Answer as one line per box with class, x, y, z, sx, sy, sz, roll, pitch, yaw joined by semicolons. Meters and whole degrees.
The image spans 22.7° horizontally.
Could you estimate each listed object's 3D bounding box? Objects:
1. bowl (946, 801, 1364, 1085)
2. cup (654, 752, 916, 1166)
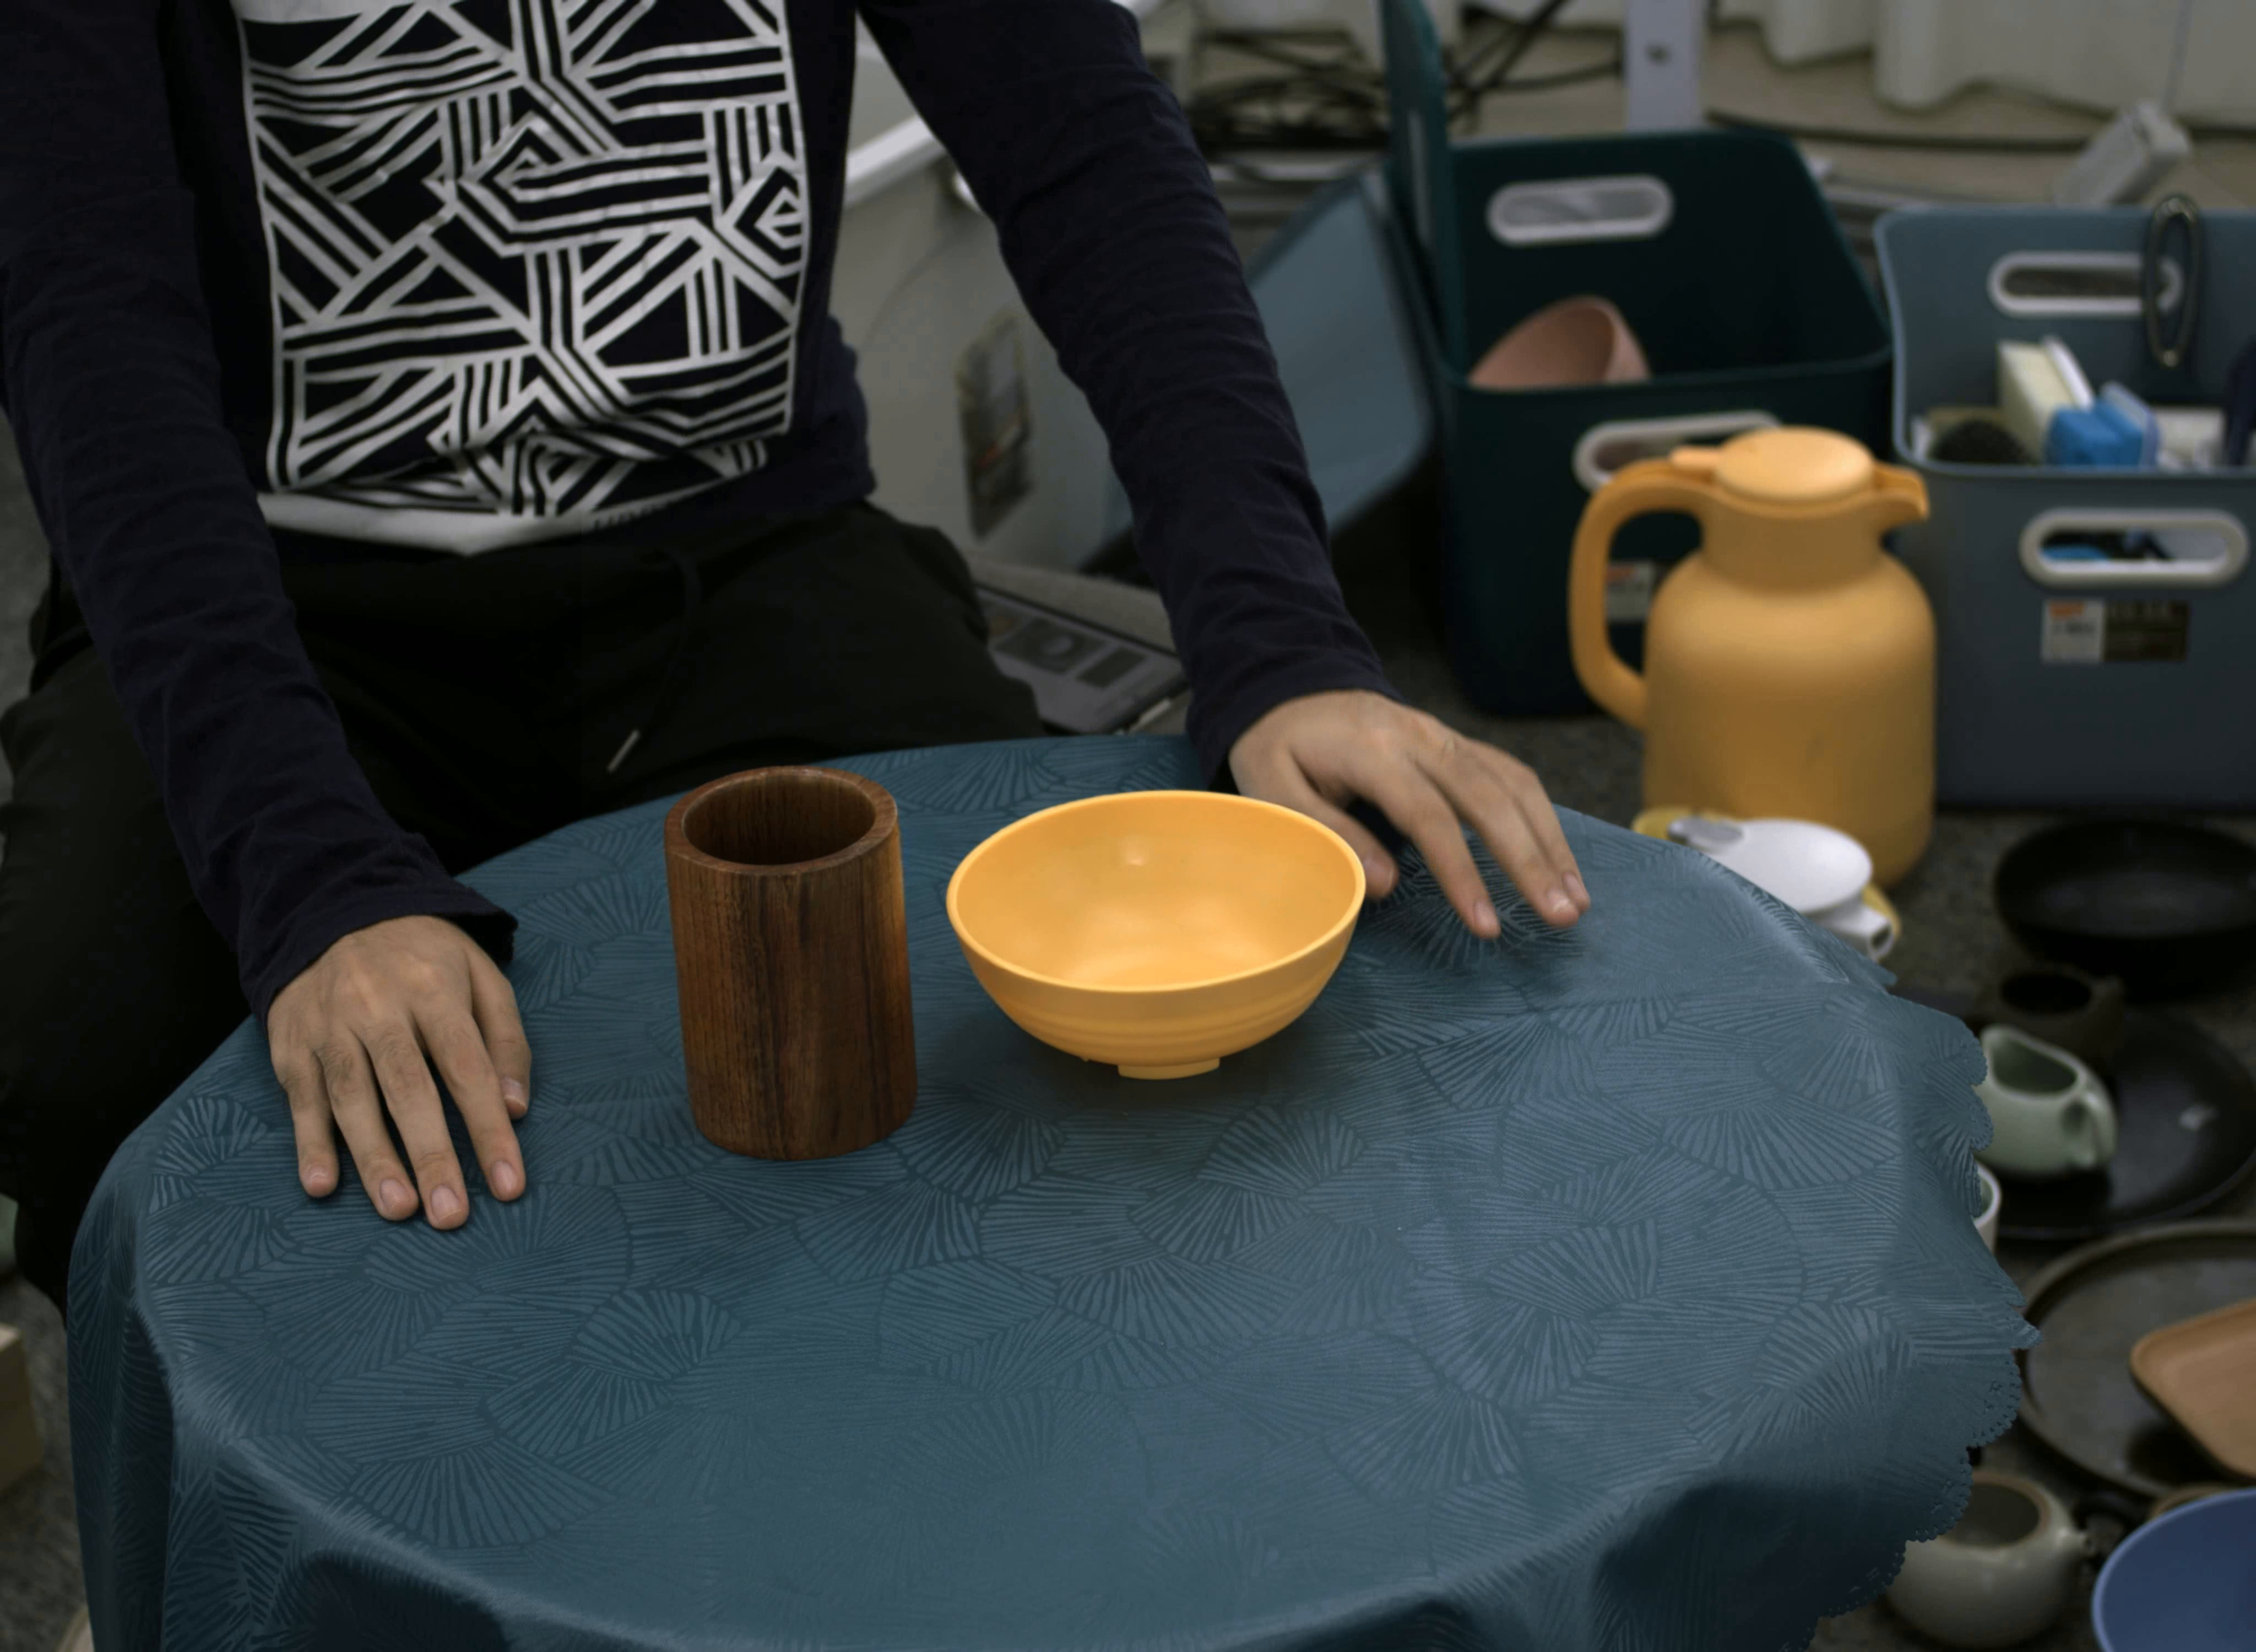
bowl;0.010;0.048;1.939;0.144;0.059;0.147;-2;26;1
cup;-0.115;0.044;1.895;0.087;0.117;0.089;-1;25;1
